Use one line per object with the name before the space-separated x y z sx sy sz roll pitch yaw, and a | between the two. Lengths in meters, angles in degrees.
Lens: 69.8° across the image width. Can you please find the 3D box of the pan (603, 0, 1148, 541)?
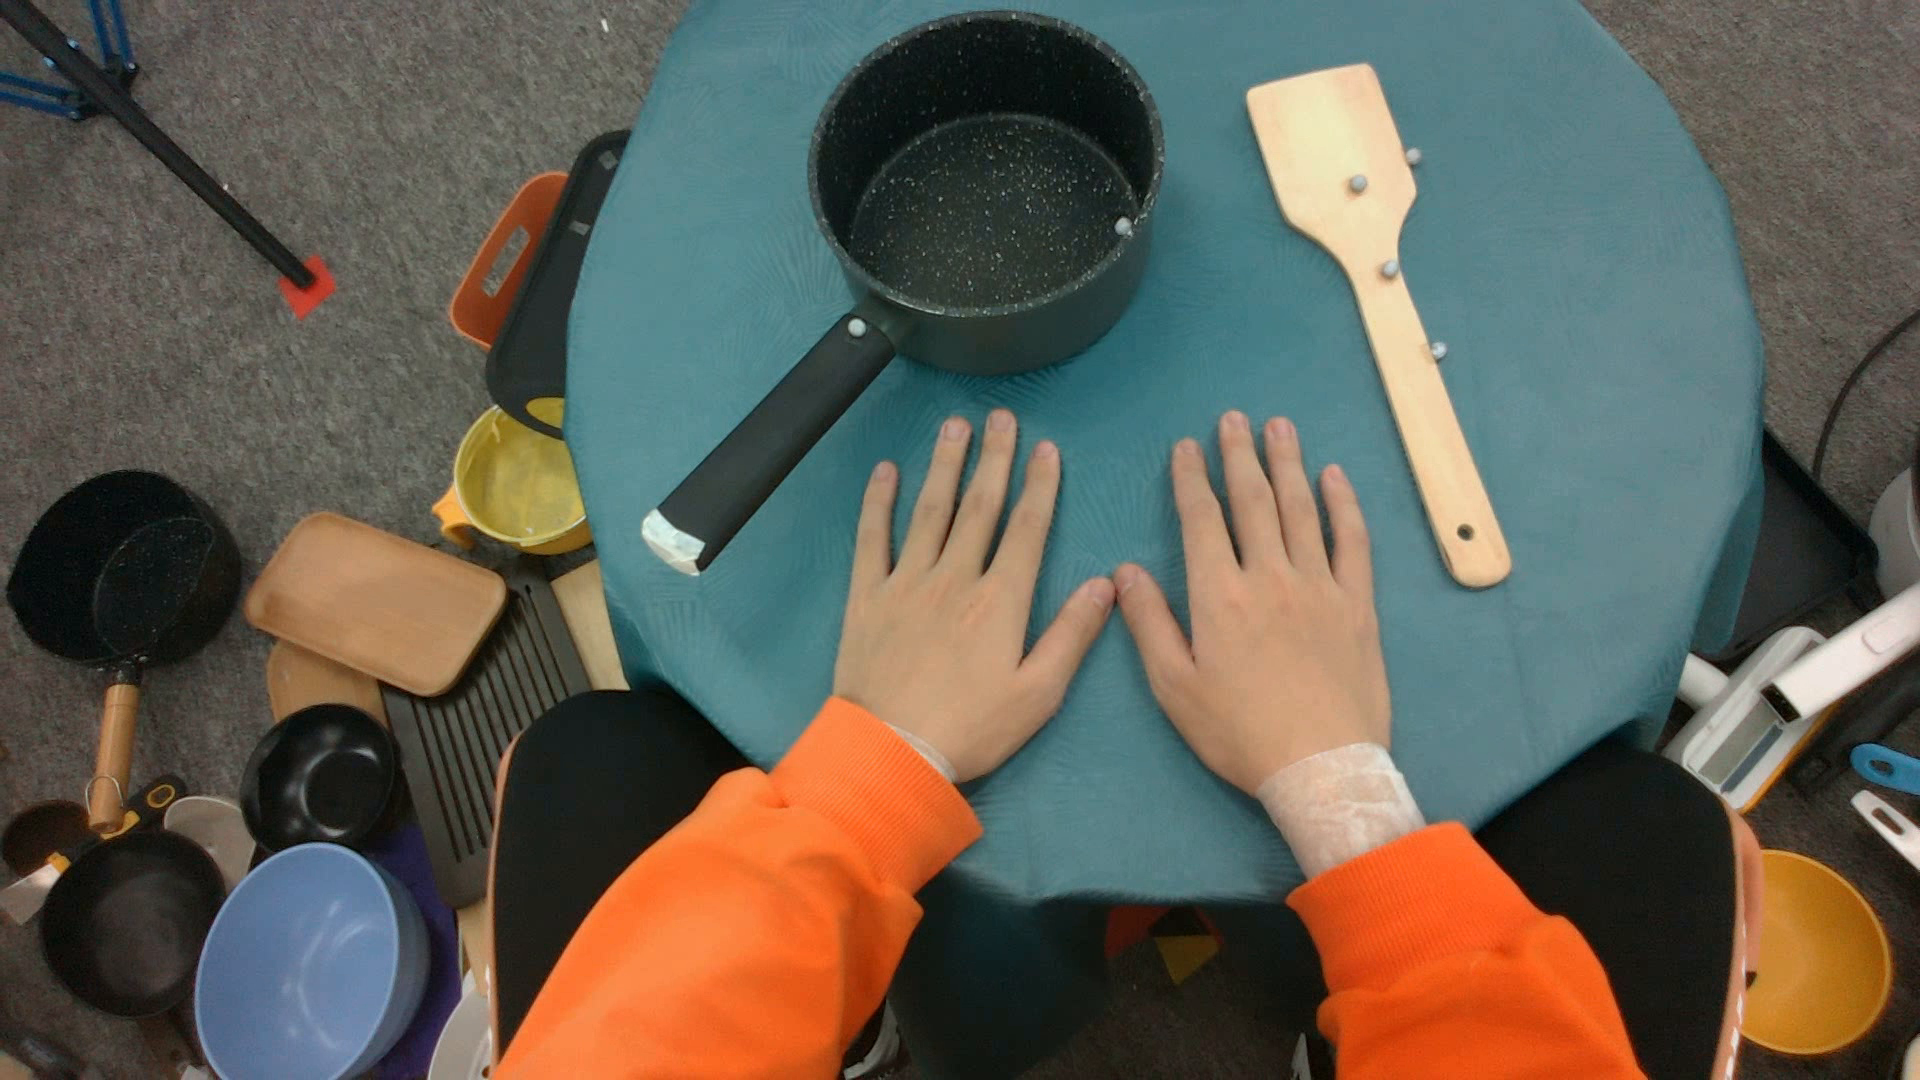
pan | -0.041 -0.118 0.669 0.172 0.086 0.329 34 75 17

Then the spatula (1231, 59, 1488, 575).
spatula | 0.206 -0.119 0.687 0.072 0.010 0.294 -11 69 -3
